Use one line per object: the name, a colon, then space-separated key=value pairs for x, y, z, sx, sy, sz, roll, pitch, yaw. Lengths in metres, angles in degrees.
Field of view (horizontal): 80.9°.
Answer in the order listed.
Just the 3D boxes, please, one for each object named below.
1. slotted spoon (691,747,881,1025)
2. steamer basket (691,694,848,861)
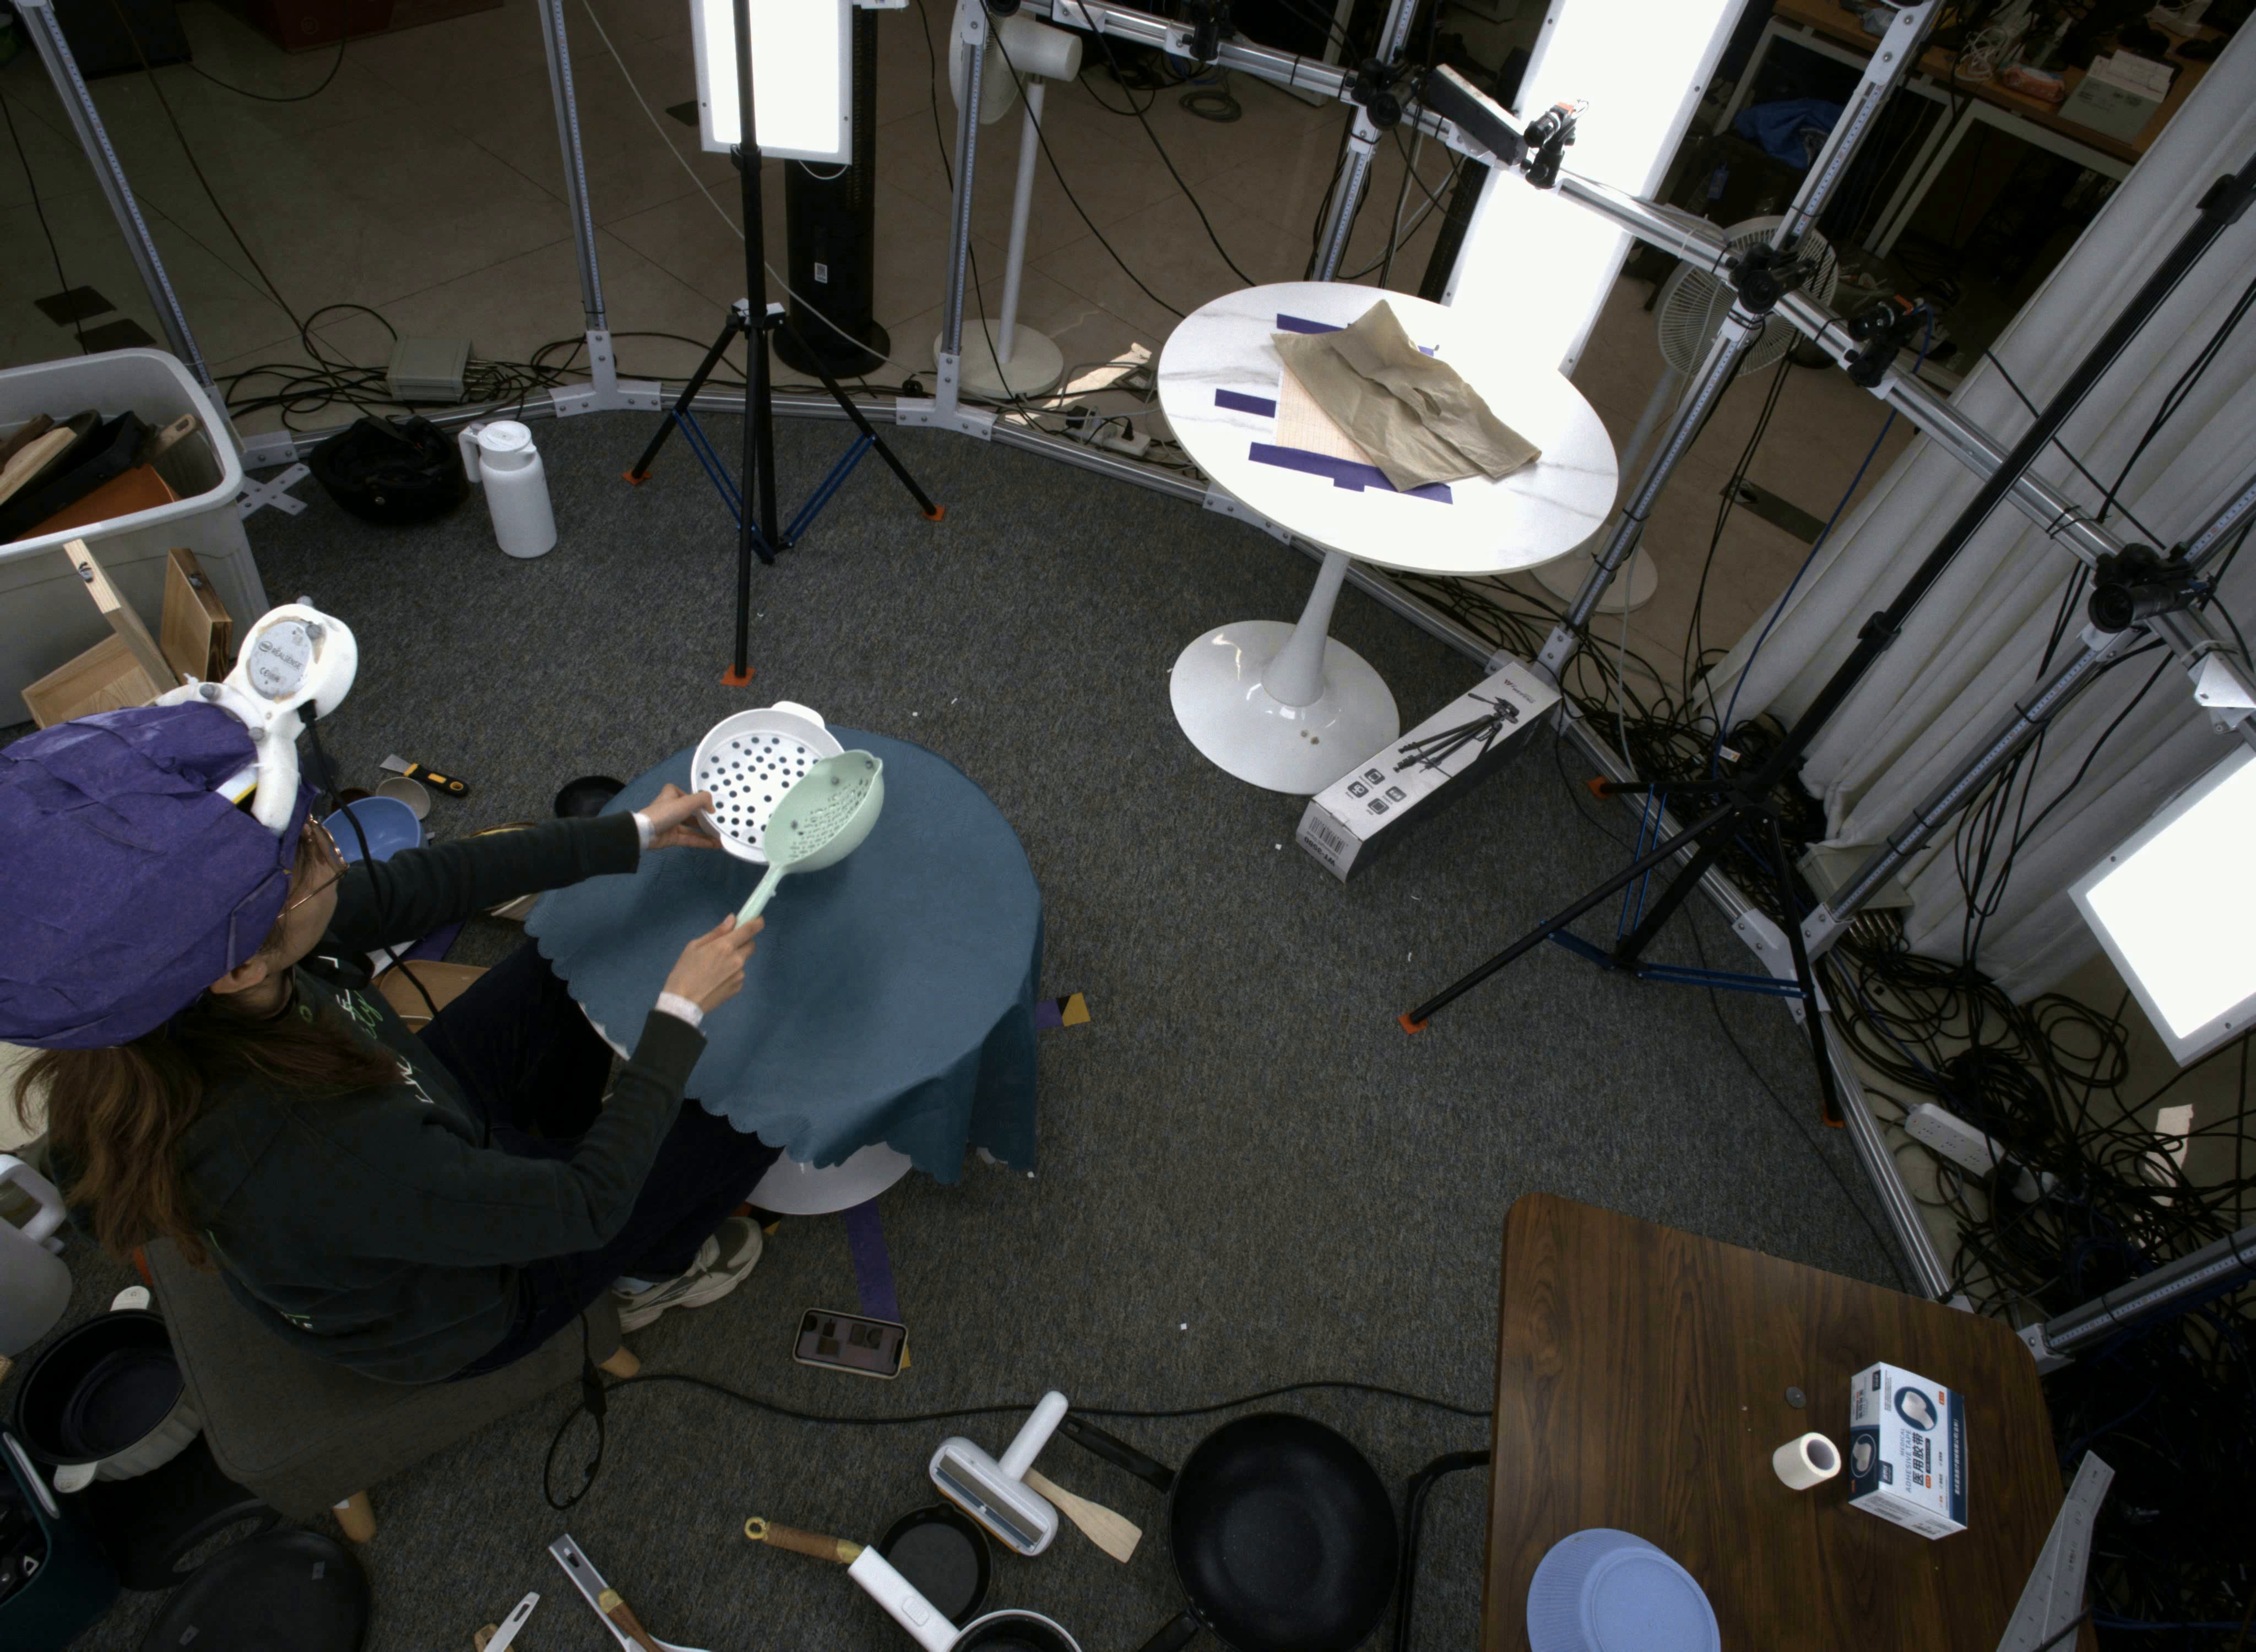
slotted spoon: x=-0.398 y=0.060 z=1.470 sx=0.163 sy=0.078 sz=0.358 roll=3 pitch=48 yaw=45
steamer basket: x=-0.456 y=-0.055 z=1.656 sx=0.203 sy=0.069 sz=0.228 roll=19 pitch=62 yaw=-15
